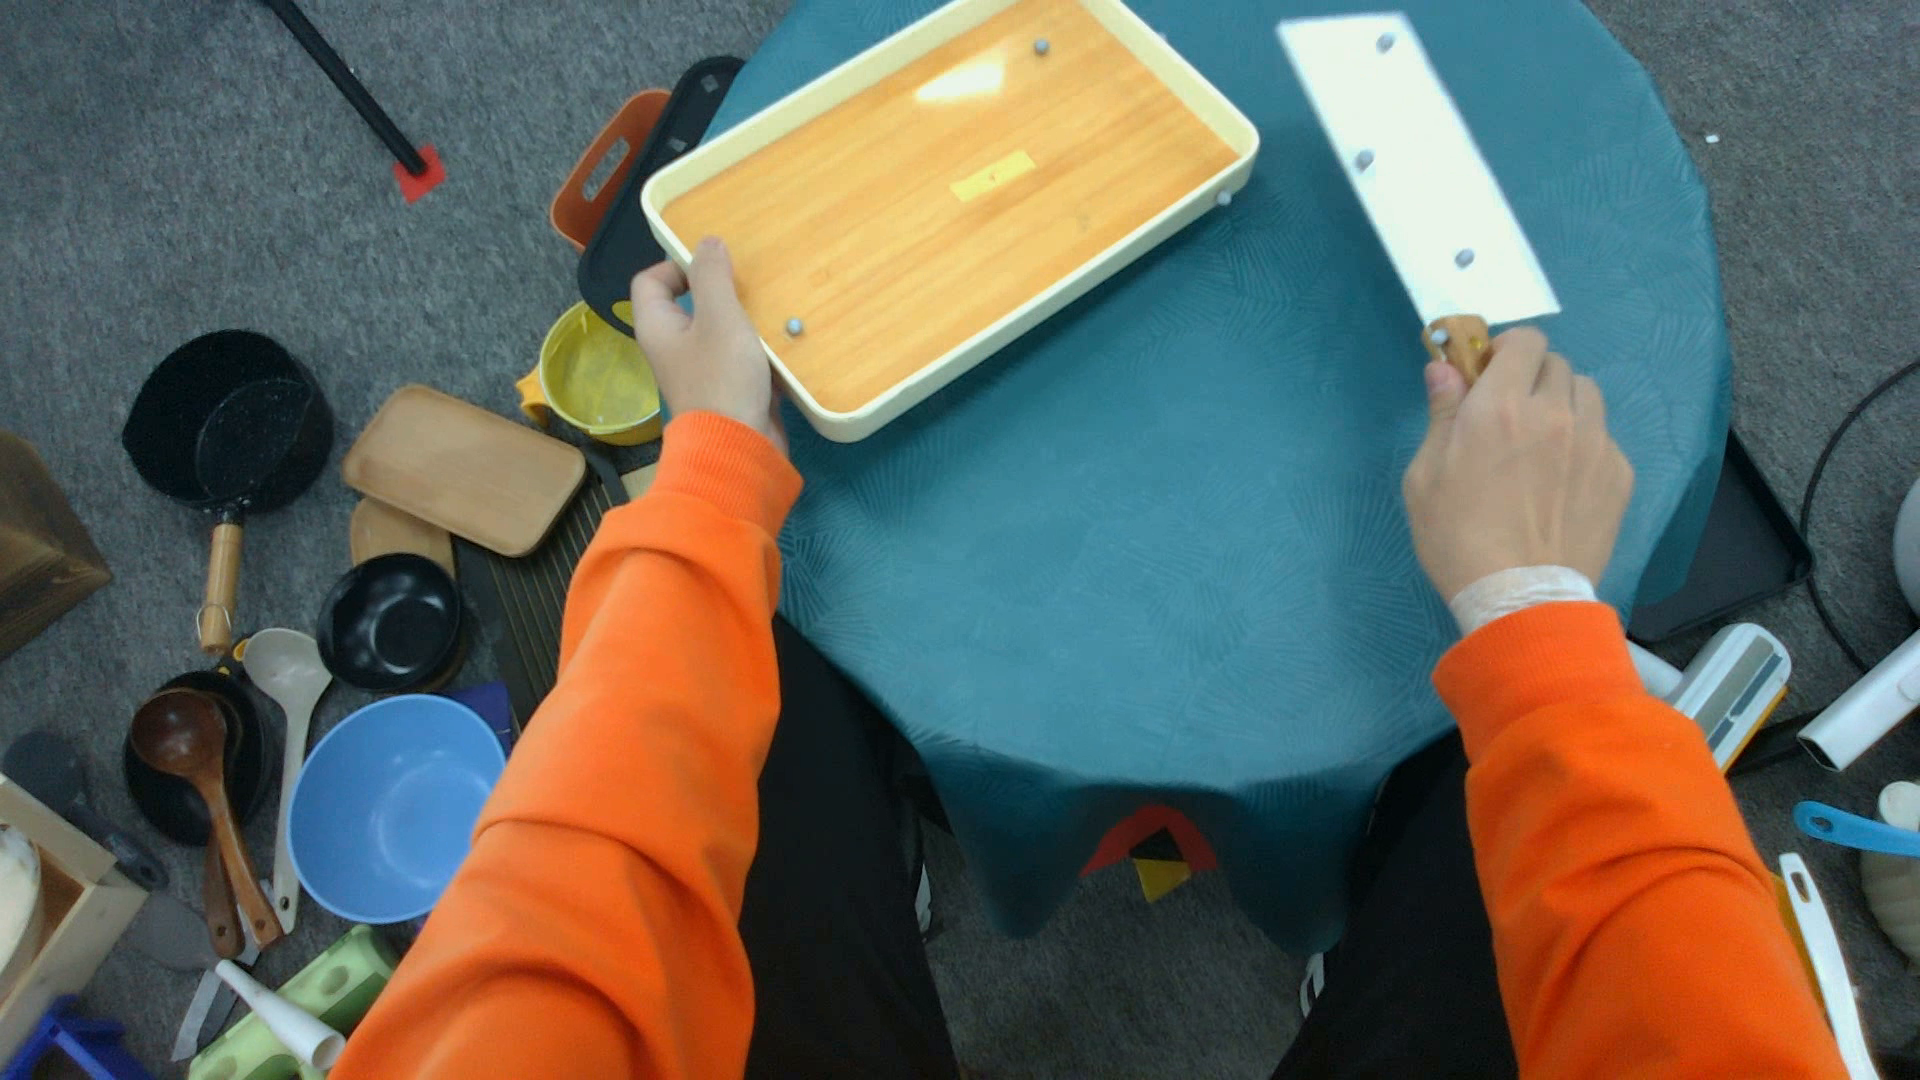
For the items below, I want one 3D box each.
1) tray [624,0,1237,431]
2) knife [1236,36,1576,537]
[{"bbox_3d":[-0.013,-0.201,0.766,0.301,0.027,0.192,-35,69,-17],"label":"tray"},{"bbox_3d":[0.243,-0.144,0.713,0.093,0.021,0.306,-15,70,-27],"label":"knife"}]
